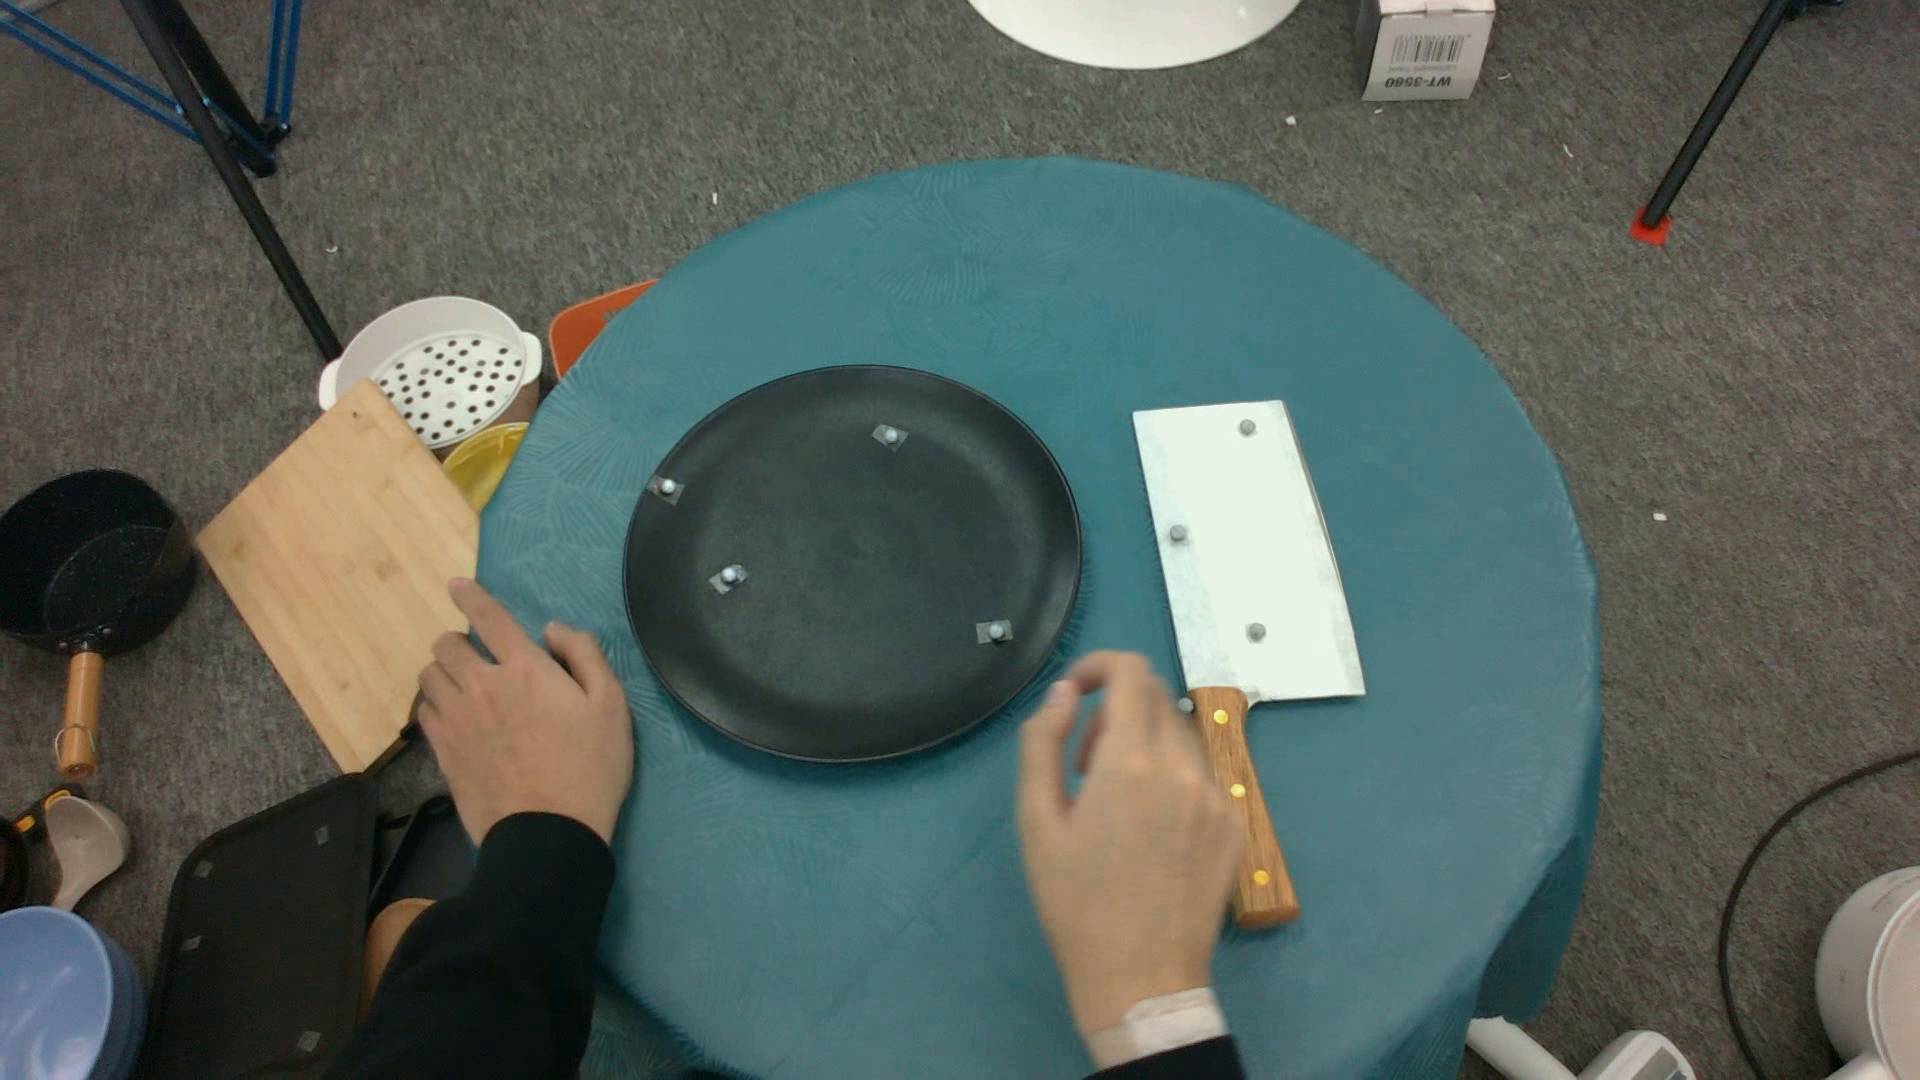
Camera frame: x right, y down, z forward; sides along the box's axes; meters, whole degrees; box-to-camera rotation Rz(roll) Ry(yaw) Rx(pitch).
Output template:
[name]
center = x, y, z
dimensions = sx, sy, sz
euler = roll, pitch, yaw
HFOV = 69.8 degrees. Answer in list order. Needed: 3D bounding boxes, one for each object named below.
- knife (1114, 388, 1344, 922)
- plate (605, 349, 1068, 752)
[knife]
center = 0.146, 0.042, 0.711
dimensions = 0.093, 0.021, 0.307
euler = -4, 57, -4
[plate]
center = -0.064, 0.001, 0.732
dimensions = 0.244, 0.023, 0.245
euler = 0, 59, 0
